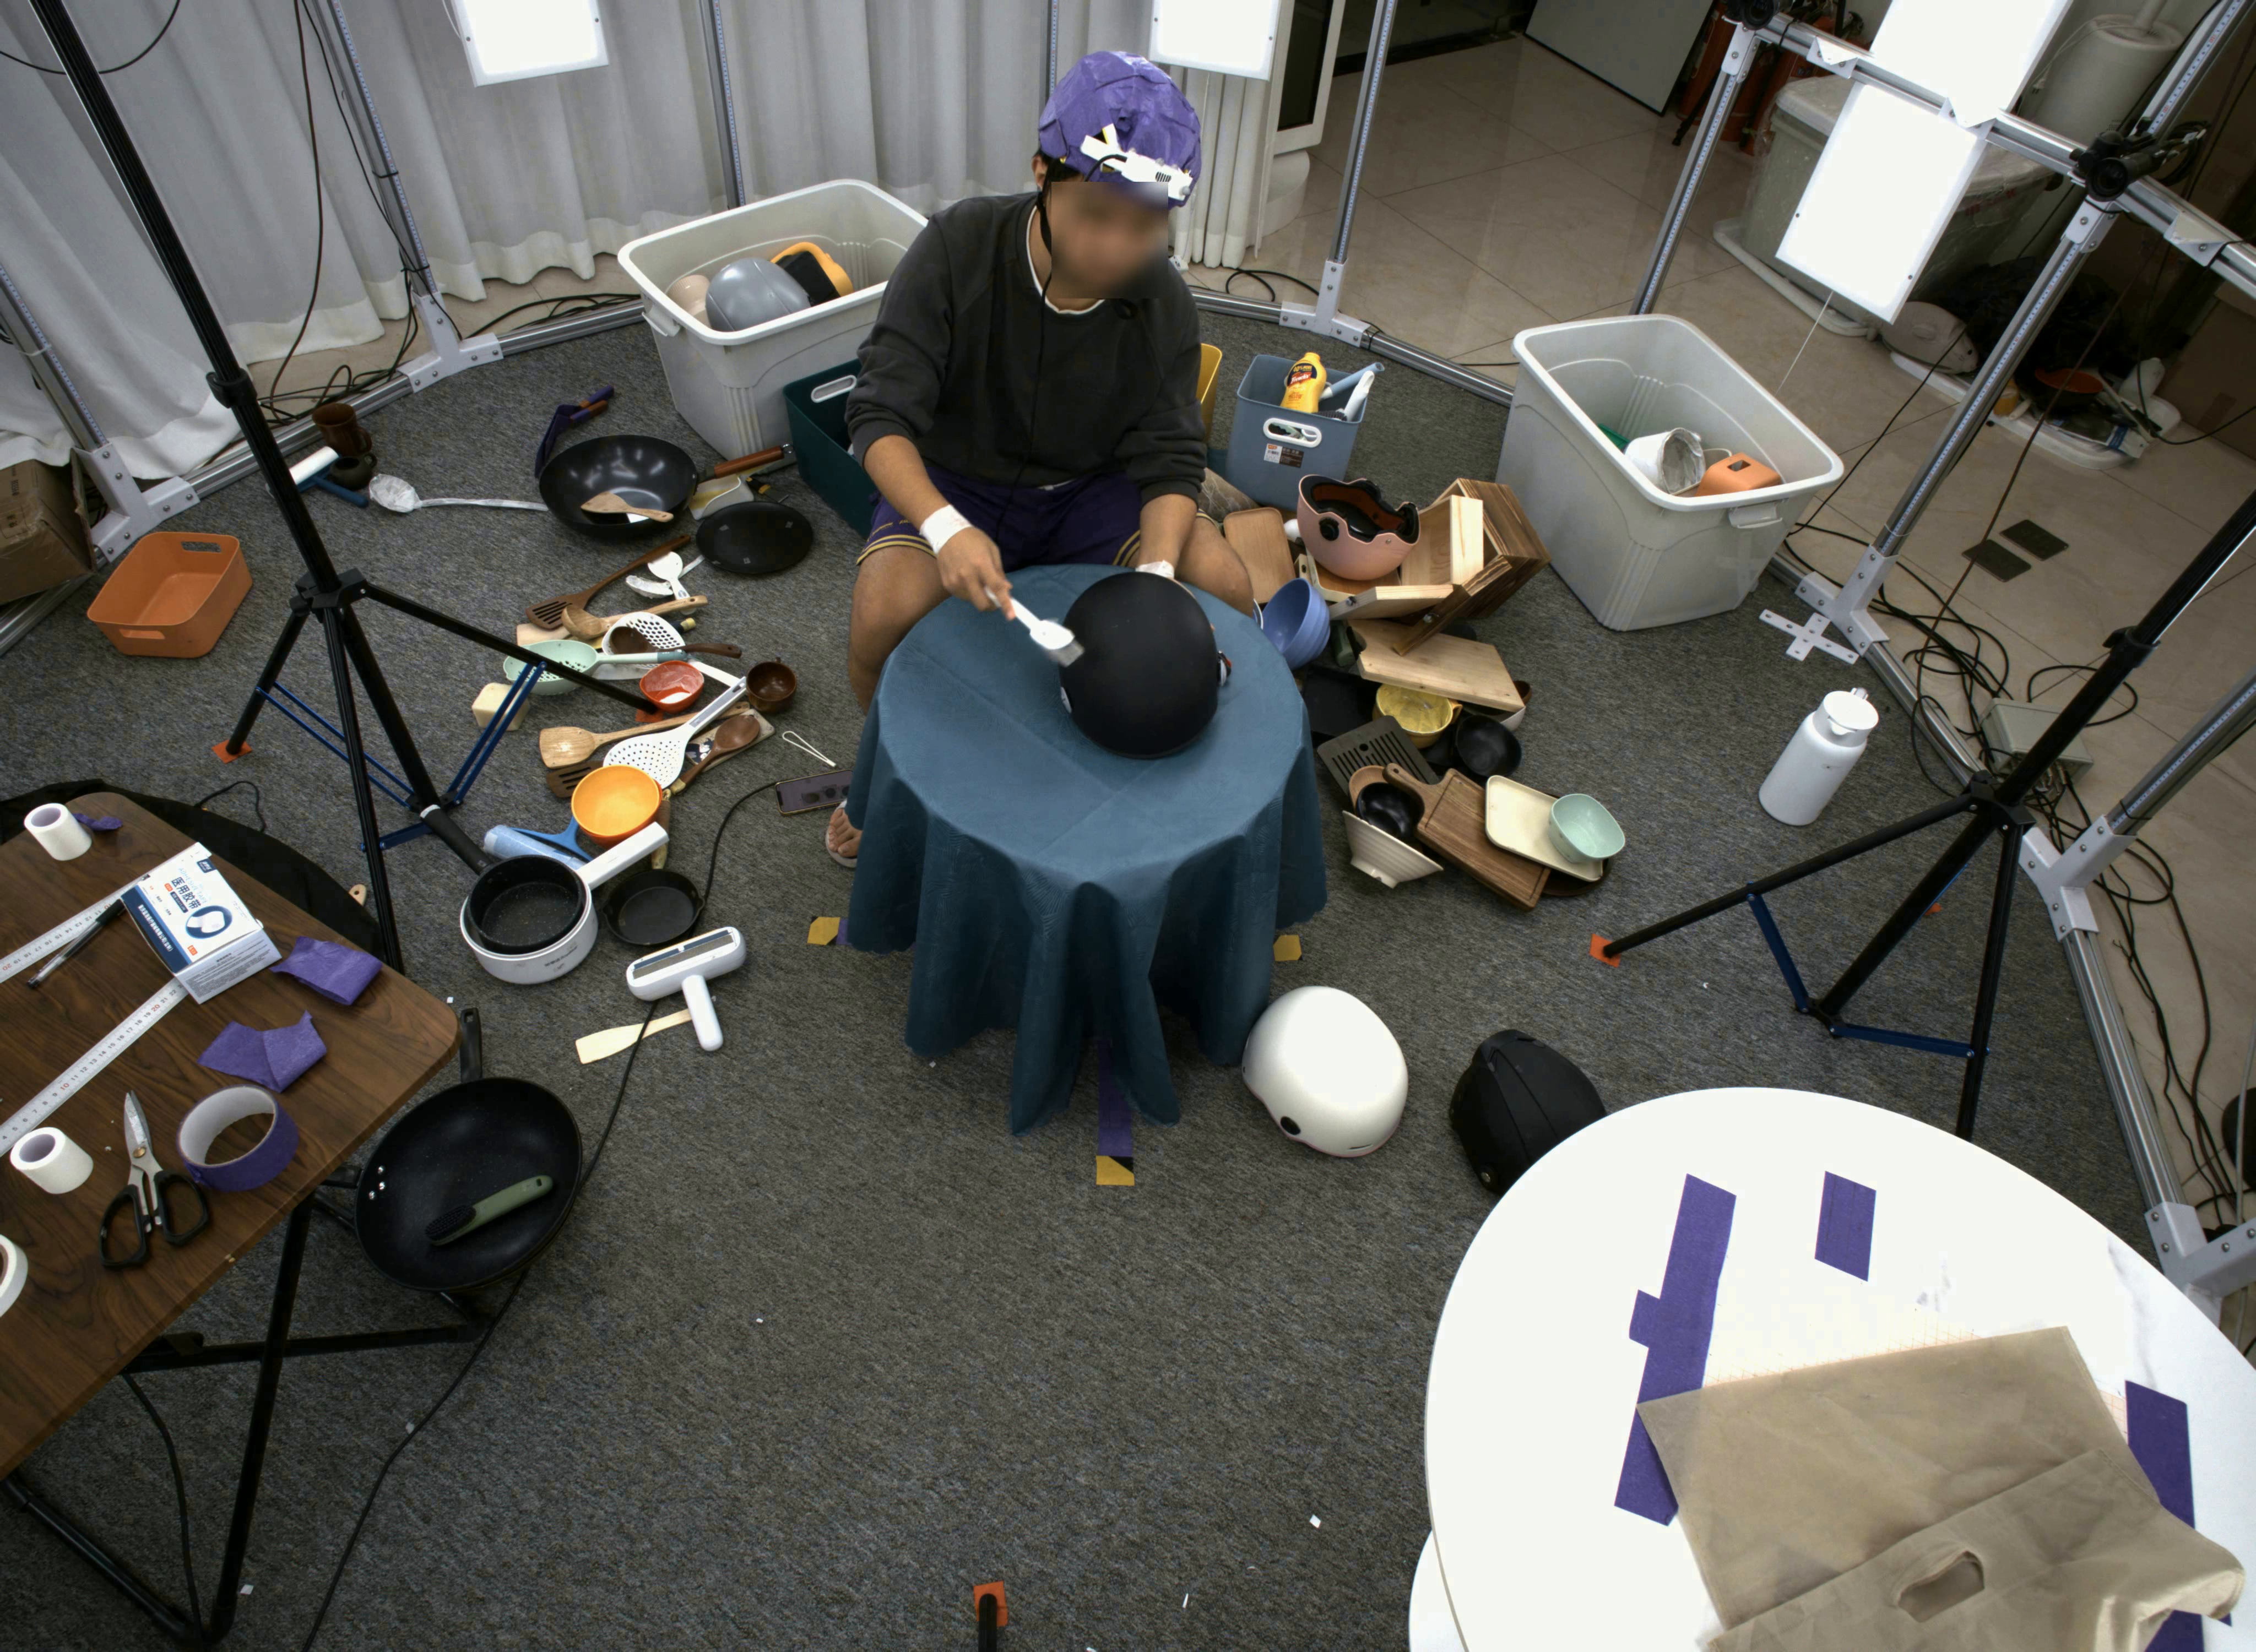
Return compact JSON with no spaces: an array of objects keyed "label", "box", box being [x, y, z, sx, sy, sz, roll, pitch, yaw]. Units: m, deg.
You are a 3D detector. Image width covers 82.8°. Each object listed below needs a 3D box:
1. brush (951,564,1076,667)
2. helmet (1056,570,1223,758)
[{"label":"brush","box":[-0.155,-0.282,1.720,0.034,0.049,0.248,-46,54,-7]},{"label":"helmet","box":[0.010,-0.245,1.766,0.230,0.163,0.280,-9,54,0]}]
